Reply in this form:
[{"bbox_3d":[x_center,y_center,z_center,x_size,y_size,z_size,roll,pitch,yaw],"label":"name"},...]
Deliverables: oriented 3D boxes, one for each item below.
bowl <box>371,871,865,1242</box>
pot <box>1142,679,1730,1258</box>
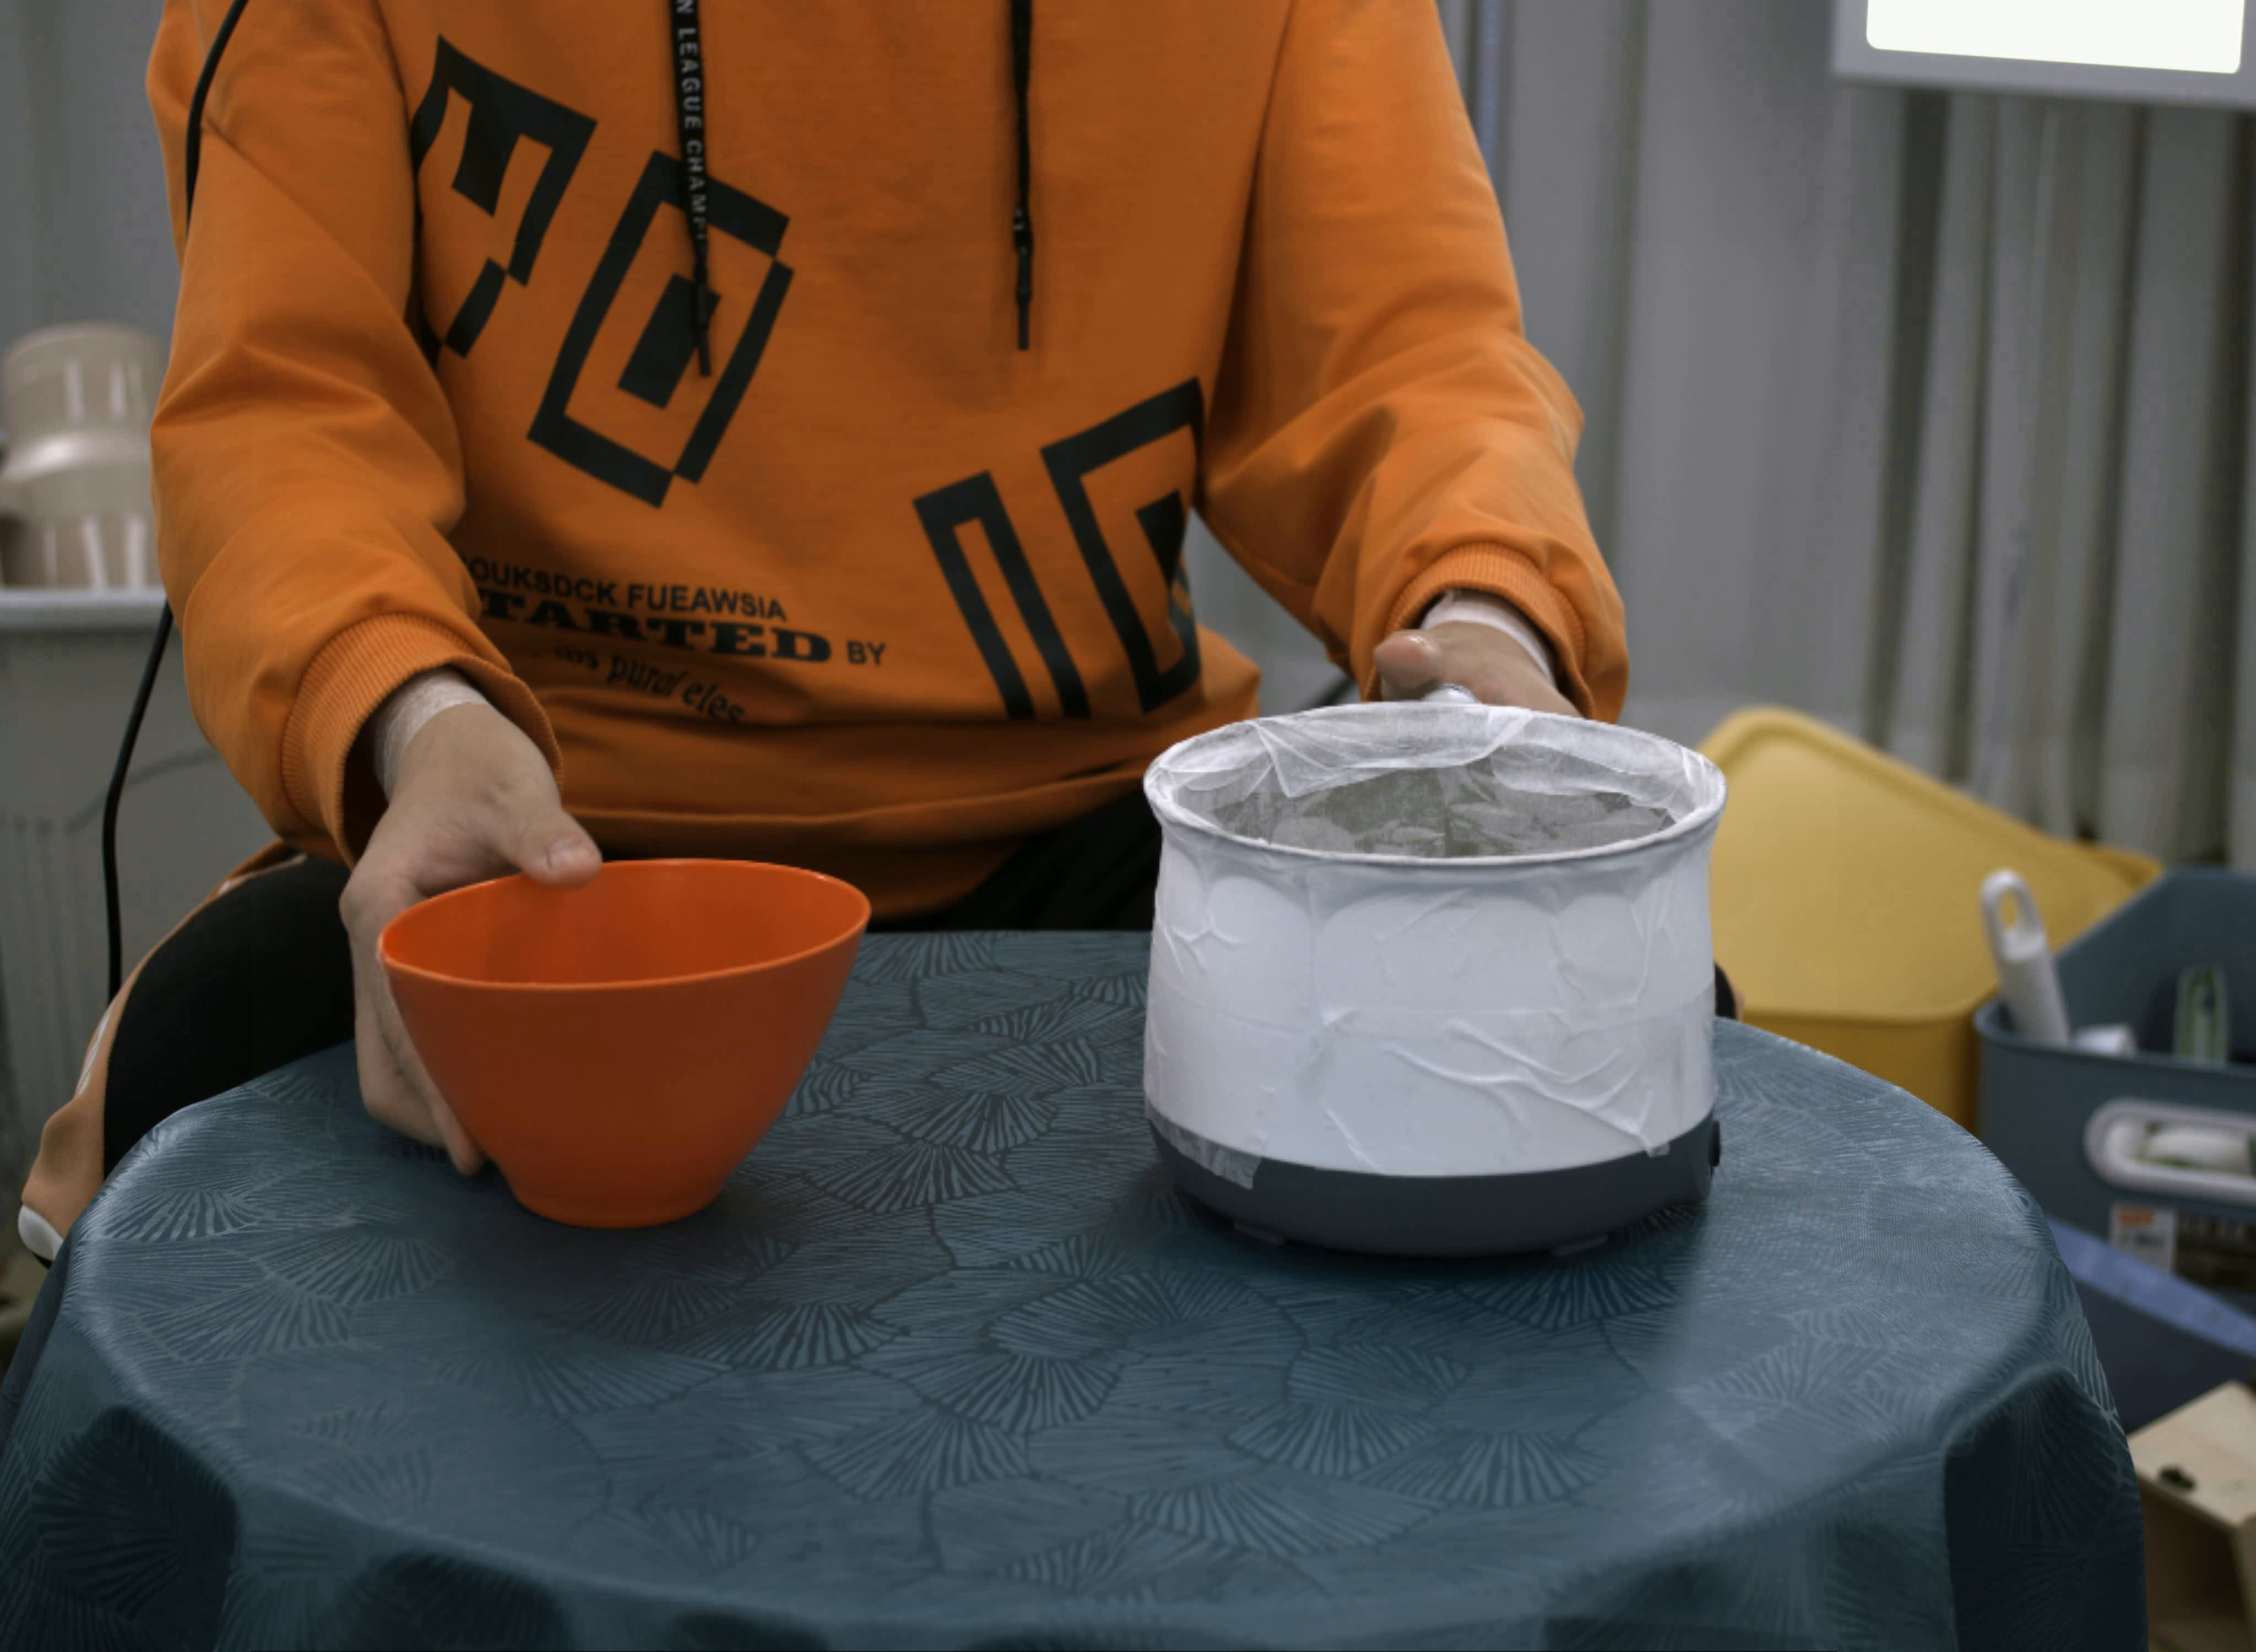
[{"bbox_3d":[-0.153,0.069,1.586,0.147,0.105,0.147,2,21,0],"label":"bowl"},{"bbox_3d":[0.094,0.039,1.631,0.178,0.138,0.232,2,16,3],"label":"pot"}]
